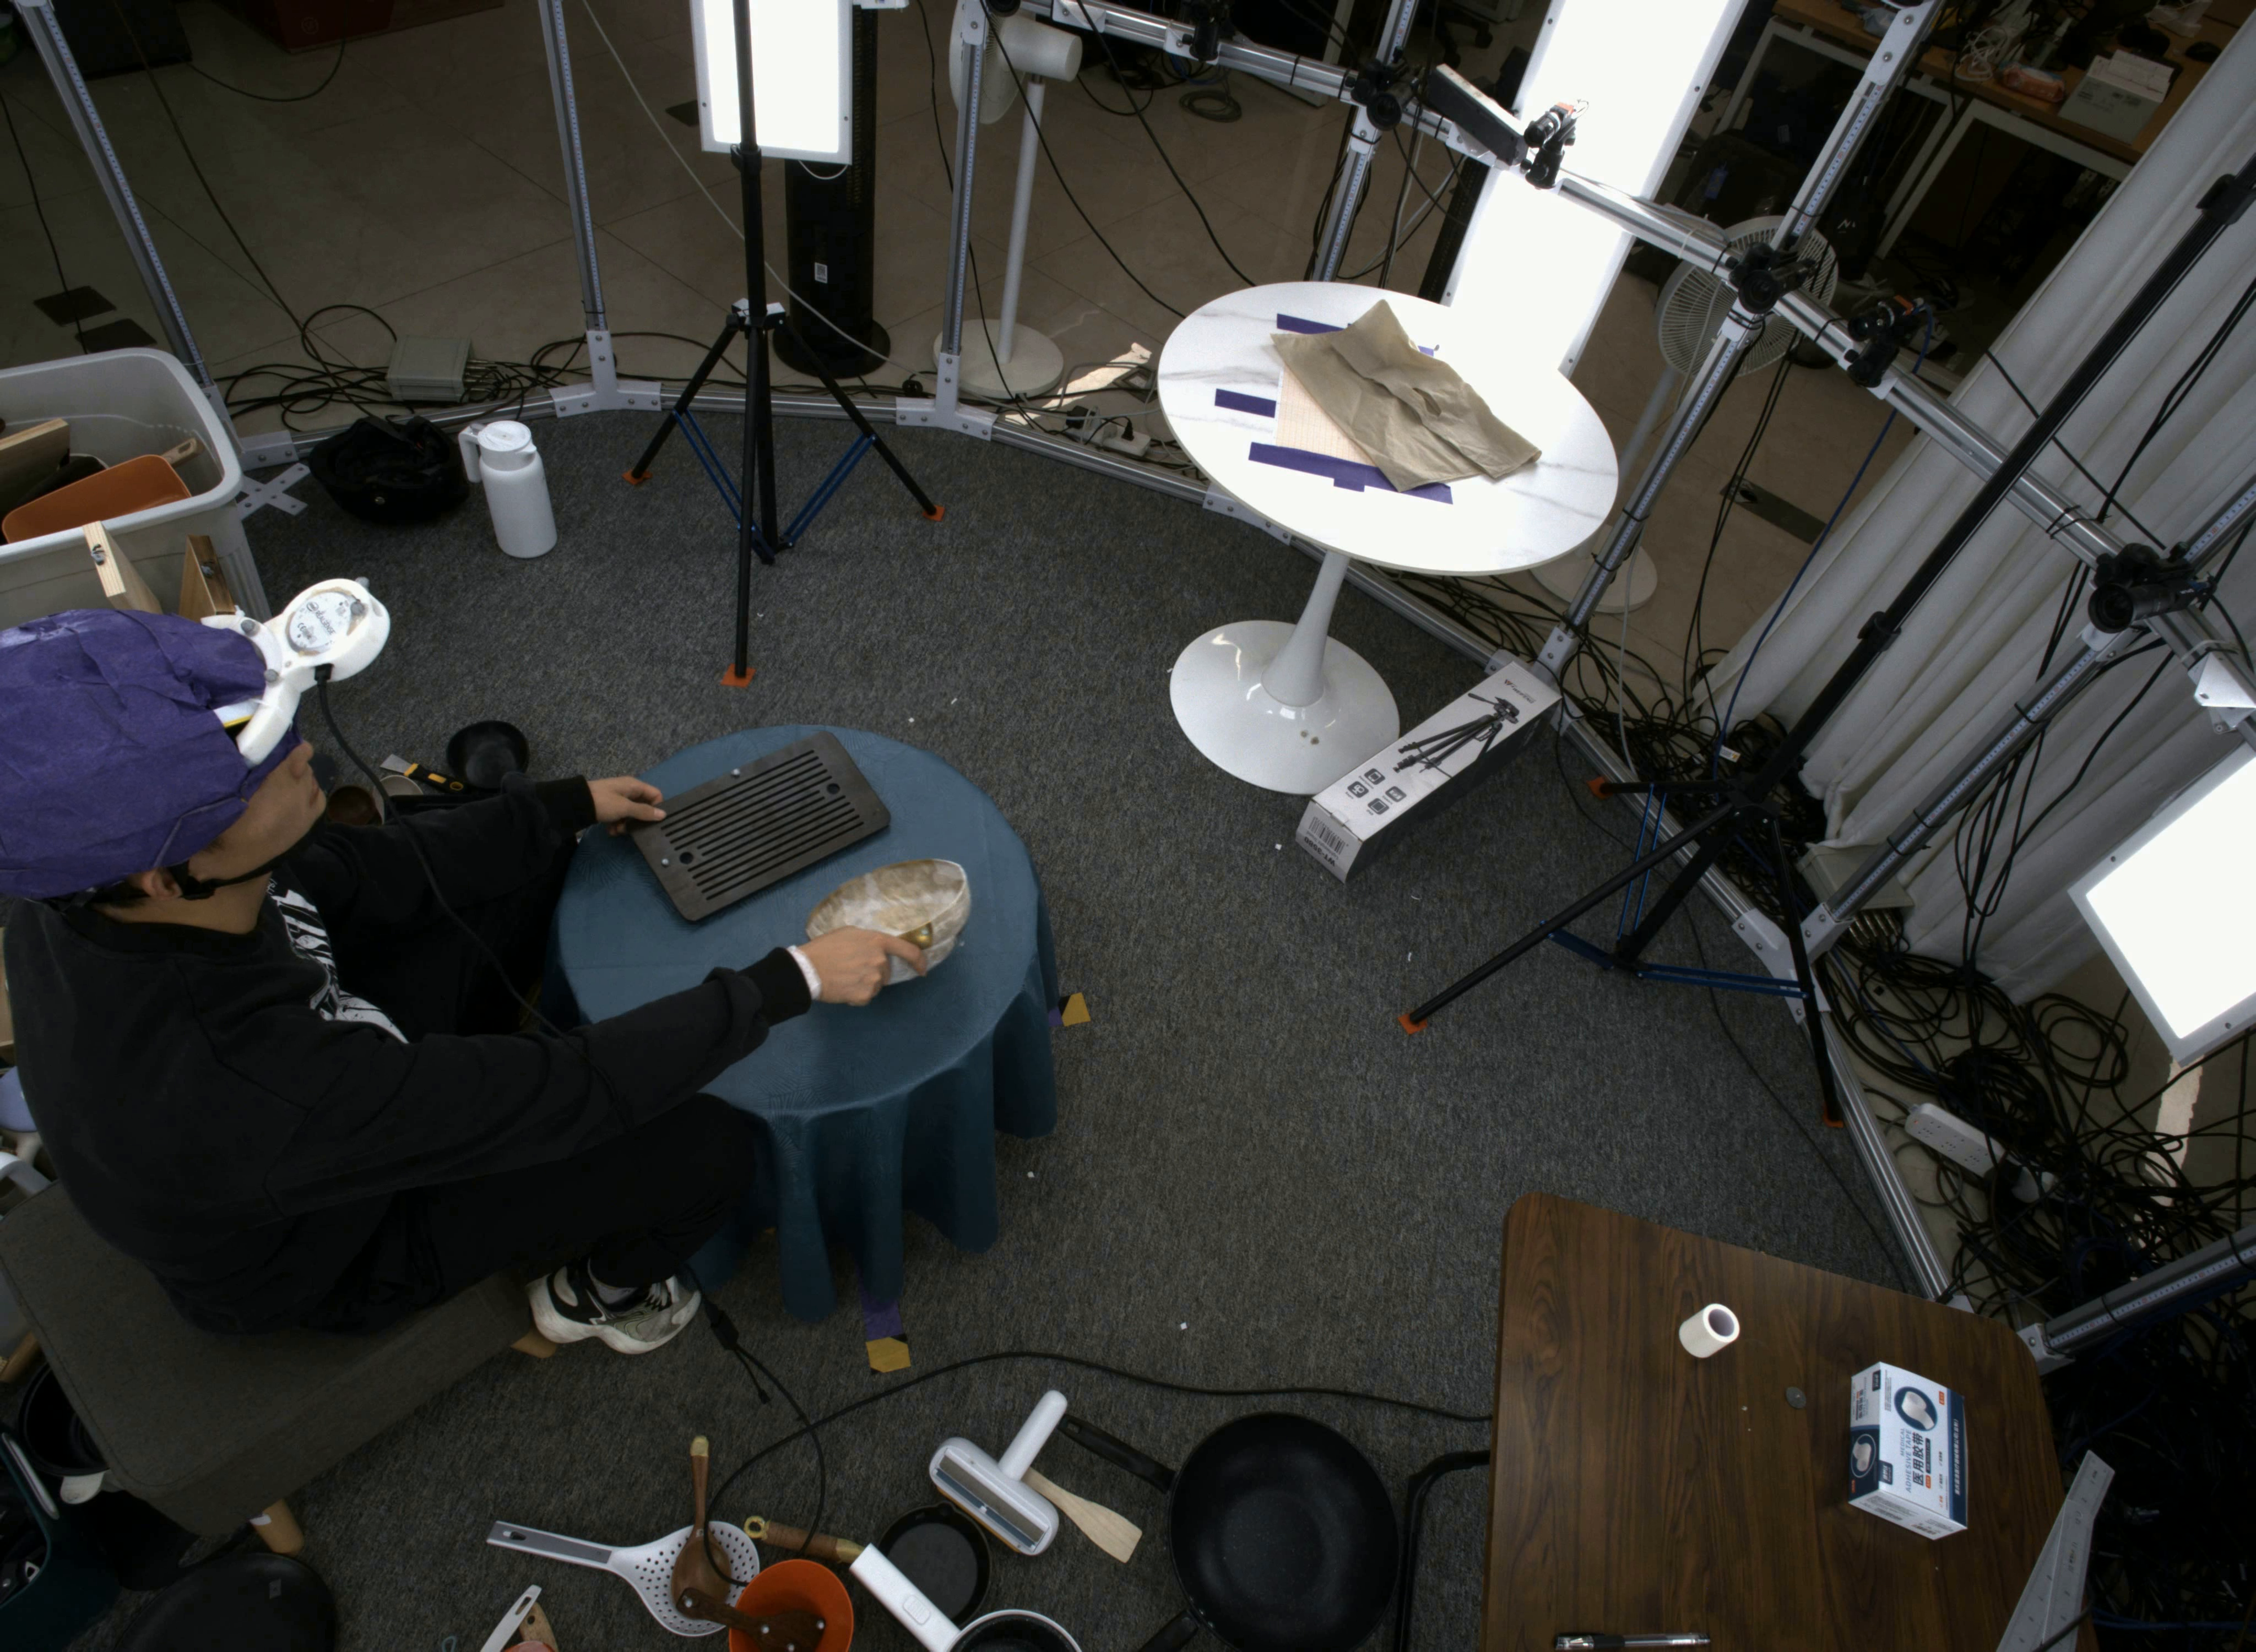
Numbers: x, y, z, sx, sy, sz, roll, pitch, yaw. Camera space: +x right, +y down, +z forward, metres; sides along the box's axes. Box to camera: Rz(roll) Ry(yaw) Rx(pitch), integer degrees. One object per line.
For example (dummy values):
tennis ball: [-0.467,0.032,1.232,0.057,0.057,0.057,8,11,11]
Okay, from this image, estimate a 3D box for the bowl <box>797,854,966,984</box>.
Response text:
bowl: [-0.288,0.125,1.582,0.211,0.098,0.210,-12,28,8]

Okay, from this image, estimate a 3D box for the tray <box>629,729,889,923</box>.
tray: [-0.480,-0.006,1.692,0.307,0.019,0.168,-30,75,-31]
